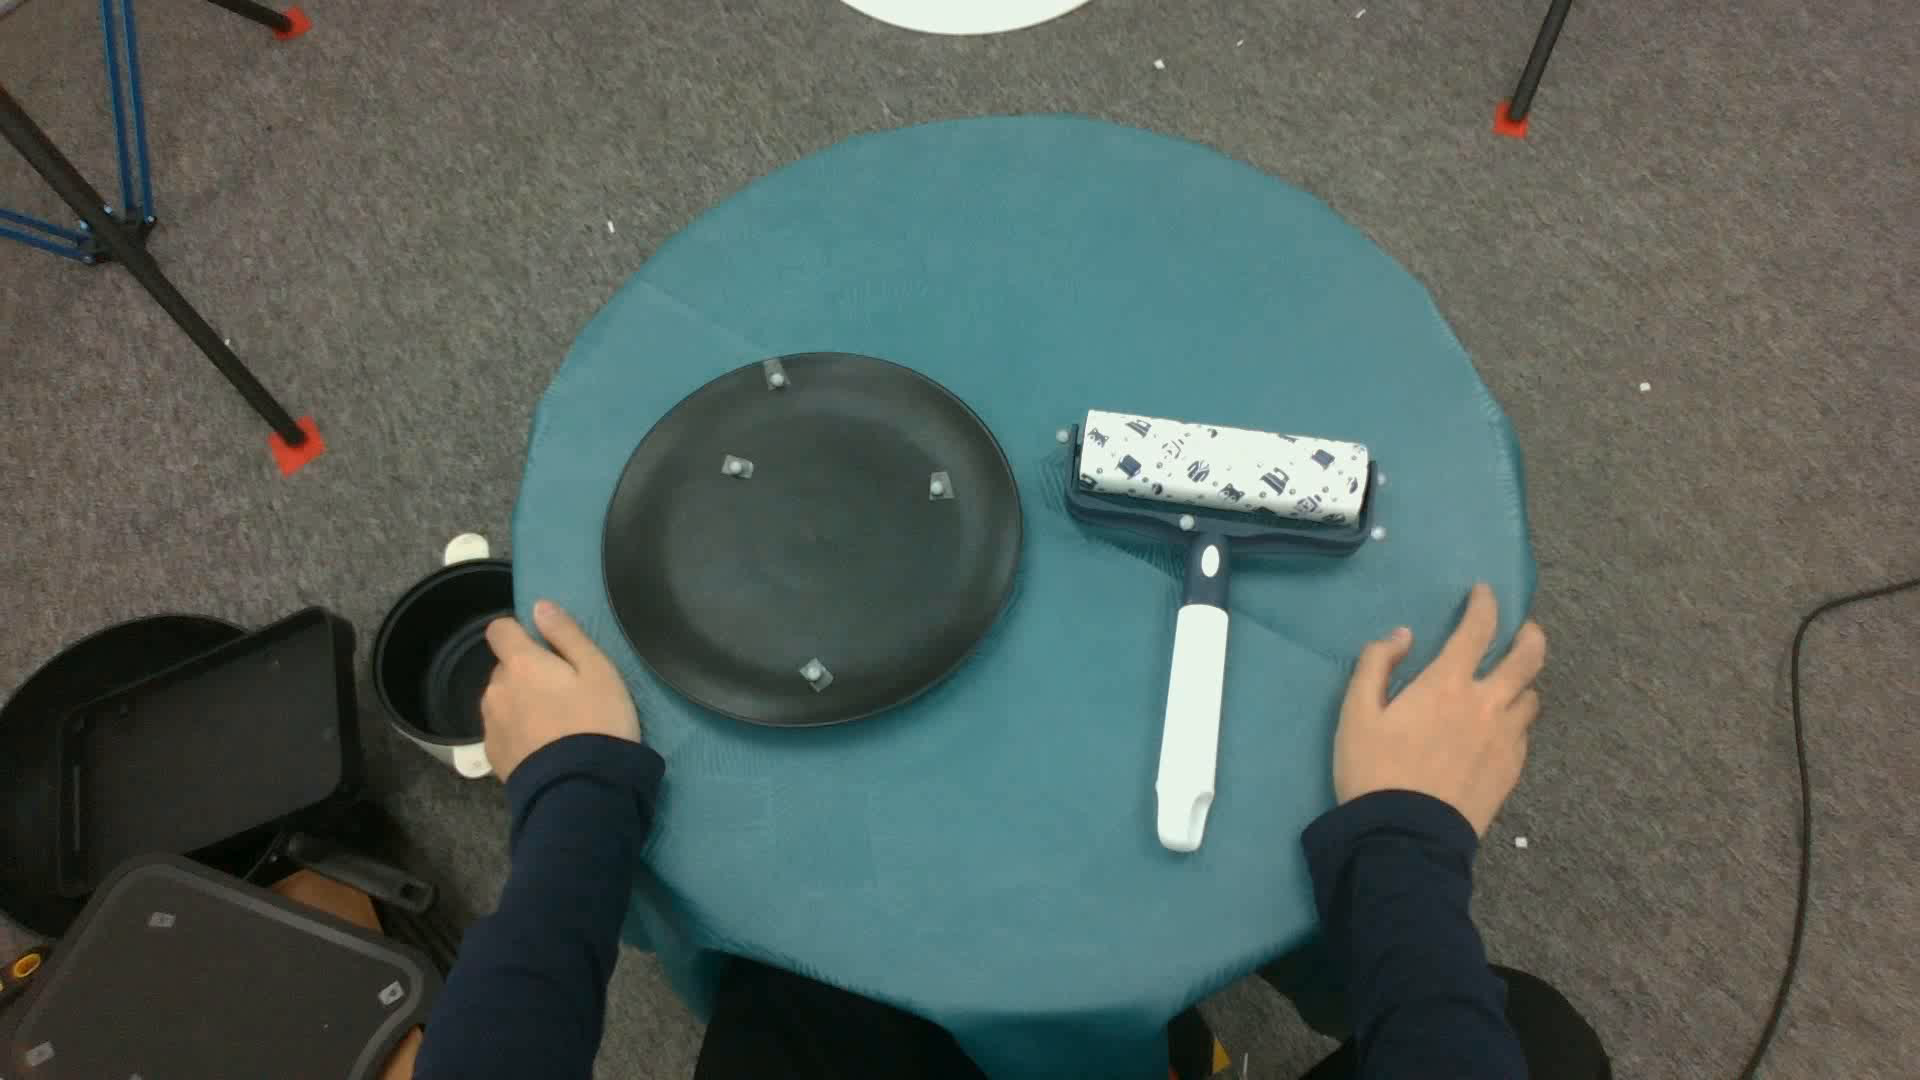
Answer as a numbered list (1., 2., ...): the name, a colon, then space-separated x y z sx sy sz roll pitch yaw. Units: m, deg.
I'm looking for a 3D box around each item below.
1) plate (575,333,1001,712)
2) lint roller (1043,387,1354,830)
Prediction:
1. plate: -0.098 -0.014 0.798 0.244 0.023 0.245 0 64 0
2. lint roller: 0.124 0.035 0.761 0.176 0.050 0.248 7 67 3
